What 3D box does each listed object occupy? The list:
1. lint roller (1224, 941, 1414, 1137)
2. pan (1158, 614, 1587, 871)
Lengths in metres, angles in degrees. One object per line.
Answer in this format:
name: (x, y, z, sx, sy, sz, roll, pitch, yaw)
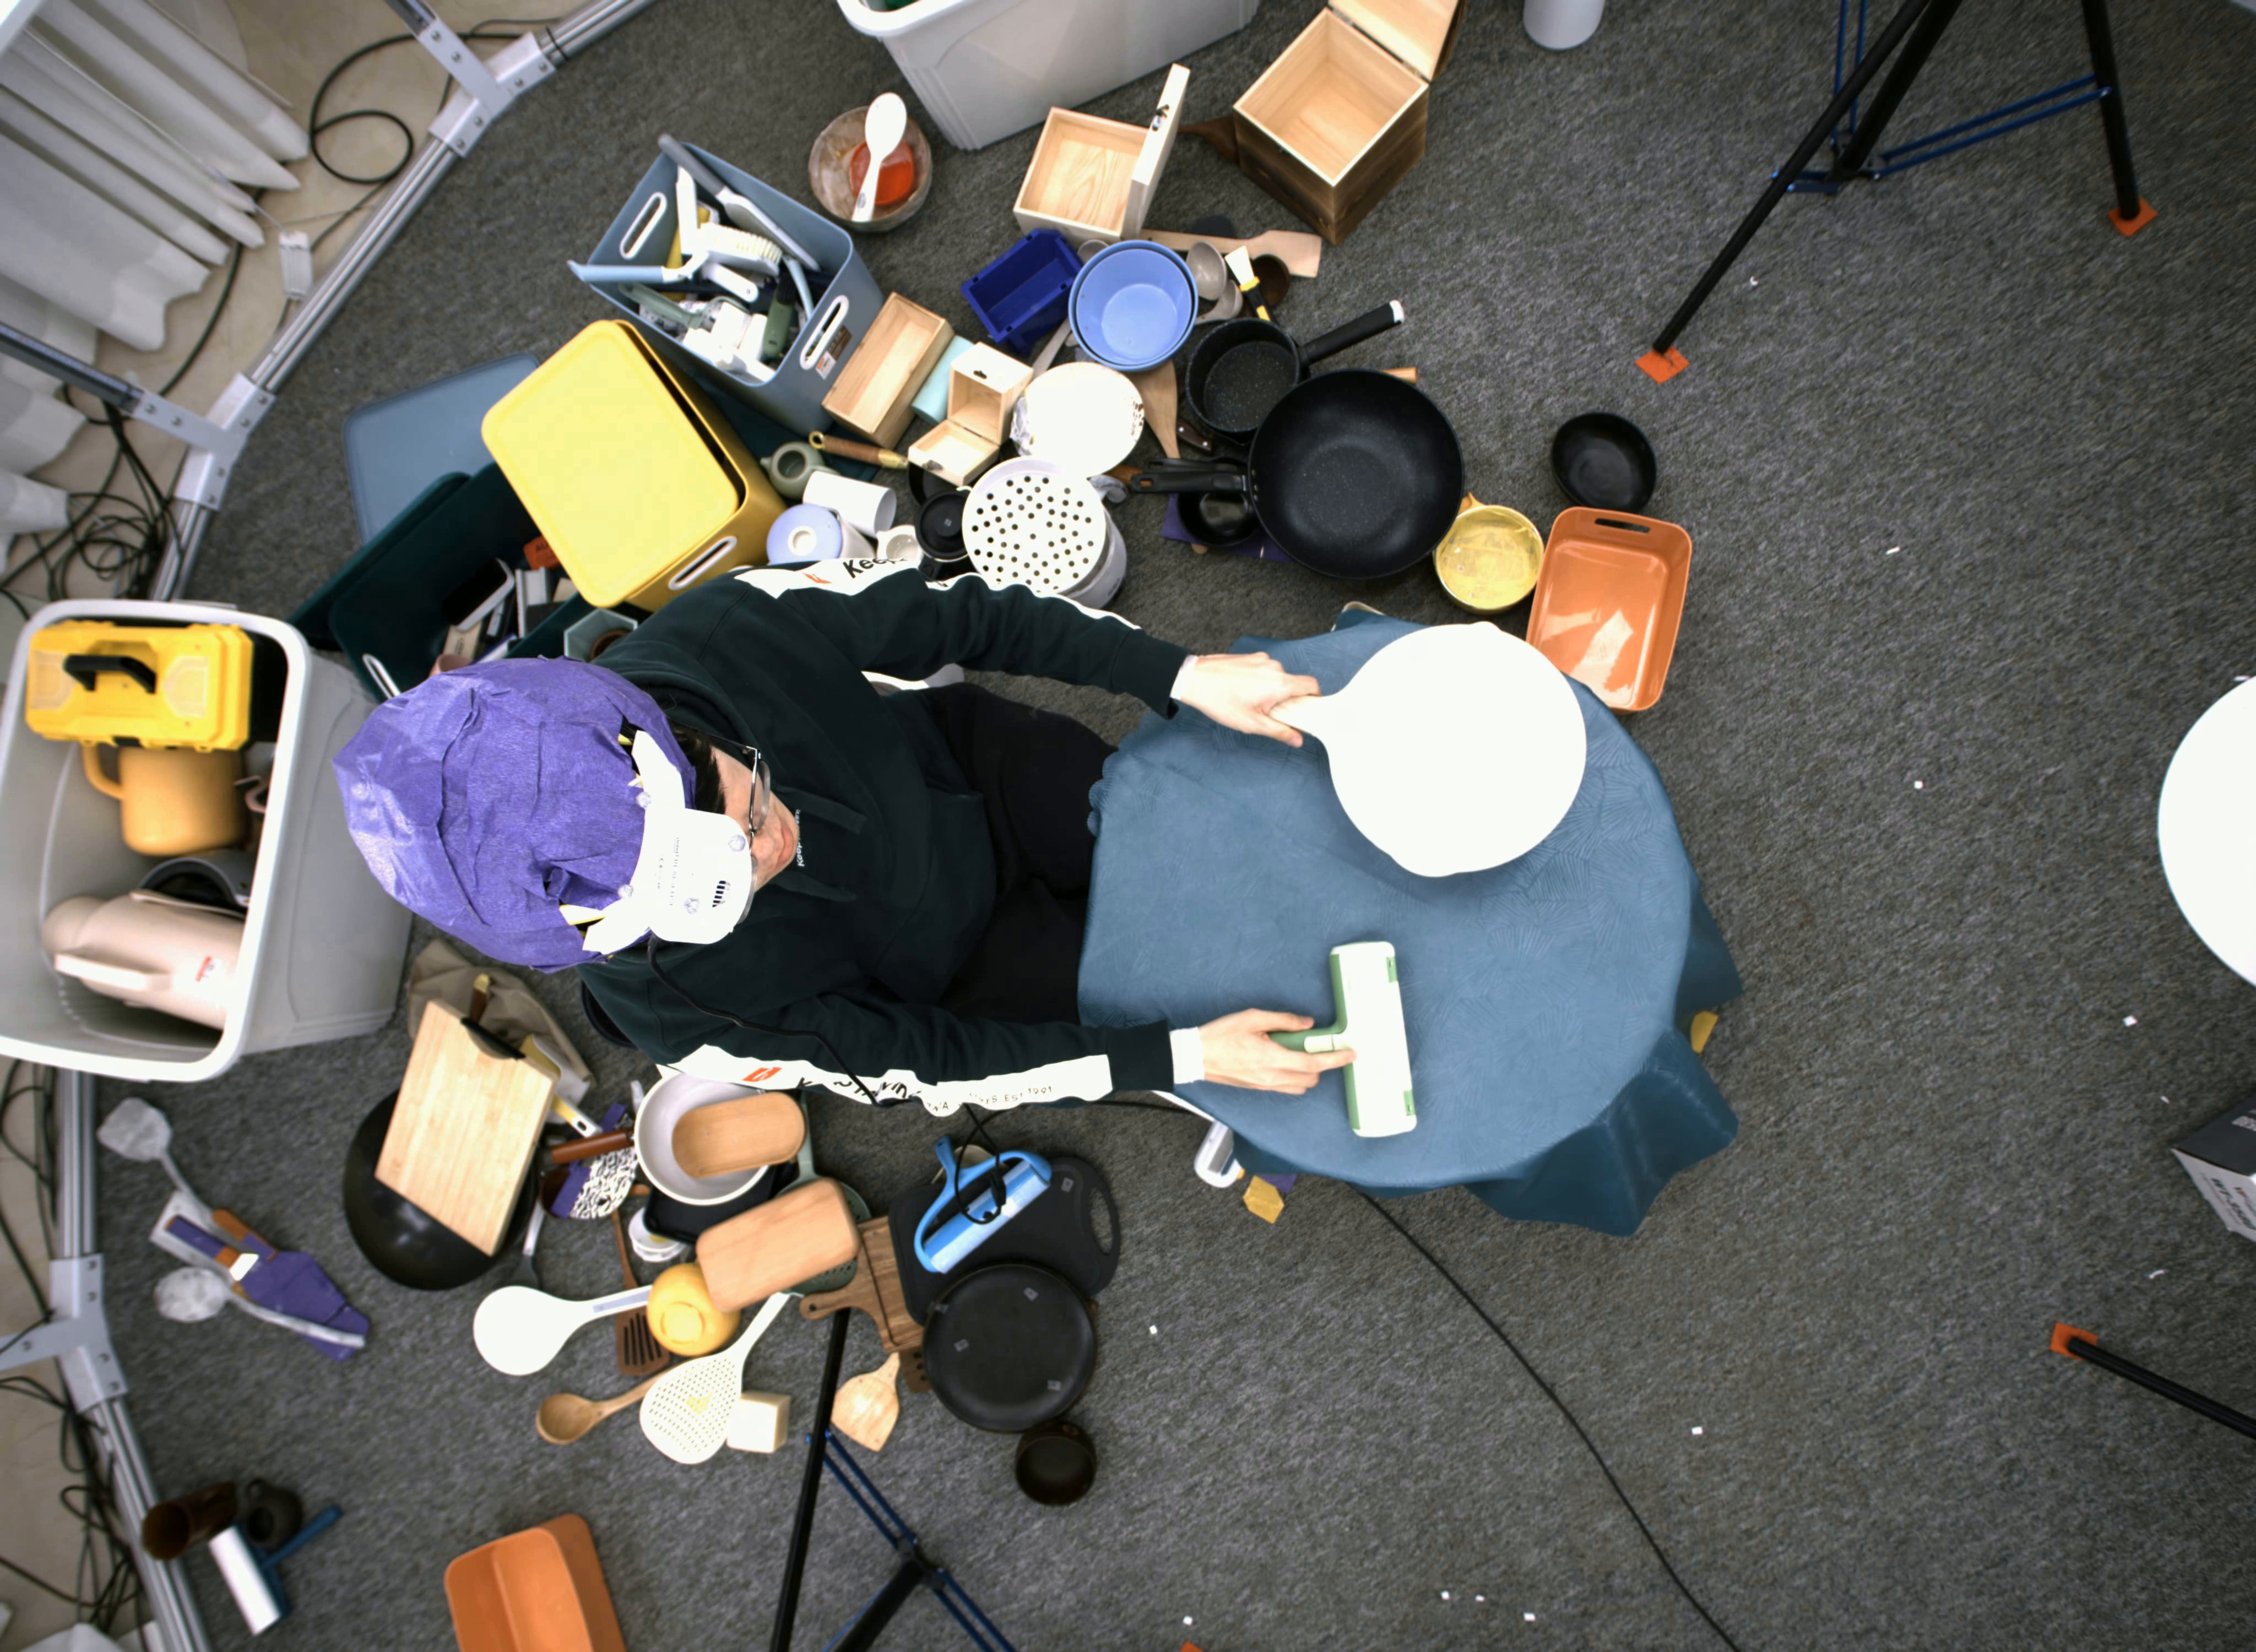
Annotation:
lint roller: (0.190, 0.223, 1.416, 0.184, 0.082, 0.198, -7, 88, 2)
pan: (0.248, -0.103, 1.418, 0.435, 0.102, 0.263, 14, 90, 17)
